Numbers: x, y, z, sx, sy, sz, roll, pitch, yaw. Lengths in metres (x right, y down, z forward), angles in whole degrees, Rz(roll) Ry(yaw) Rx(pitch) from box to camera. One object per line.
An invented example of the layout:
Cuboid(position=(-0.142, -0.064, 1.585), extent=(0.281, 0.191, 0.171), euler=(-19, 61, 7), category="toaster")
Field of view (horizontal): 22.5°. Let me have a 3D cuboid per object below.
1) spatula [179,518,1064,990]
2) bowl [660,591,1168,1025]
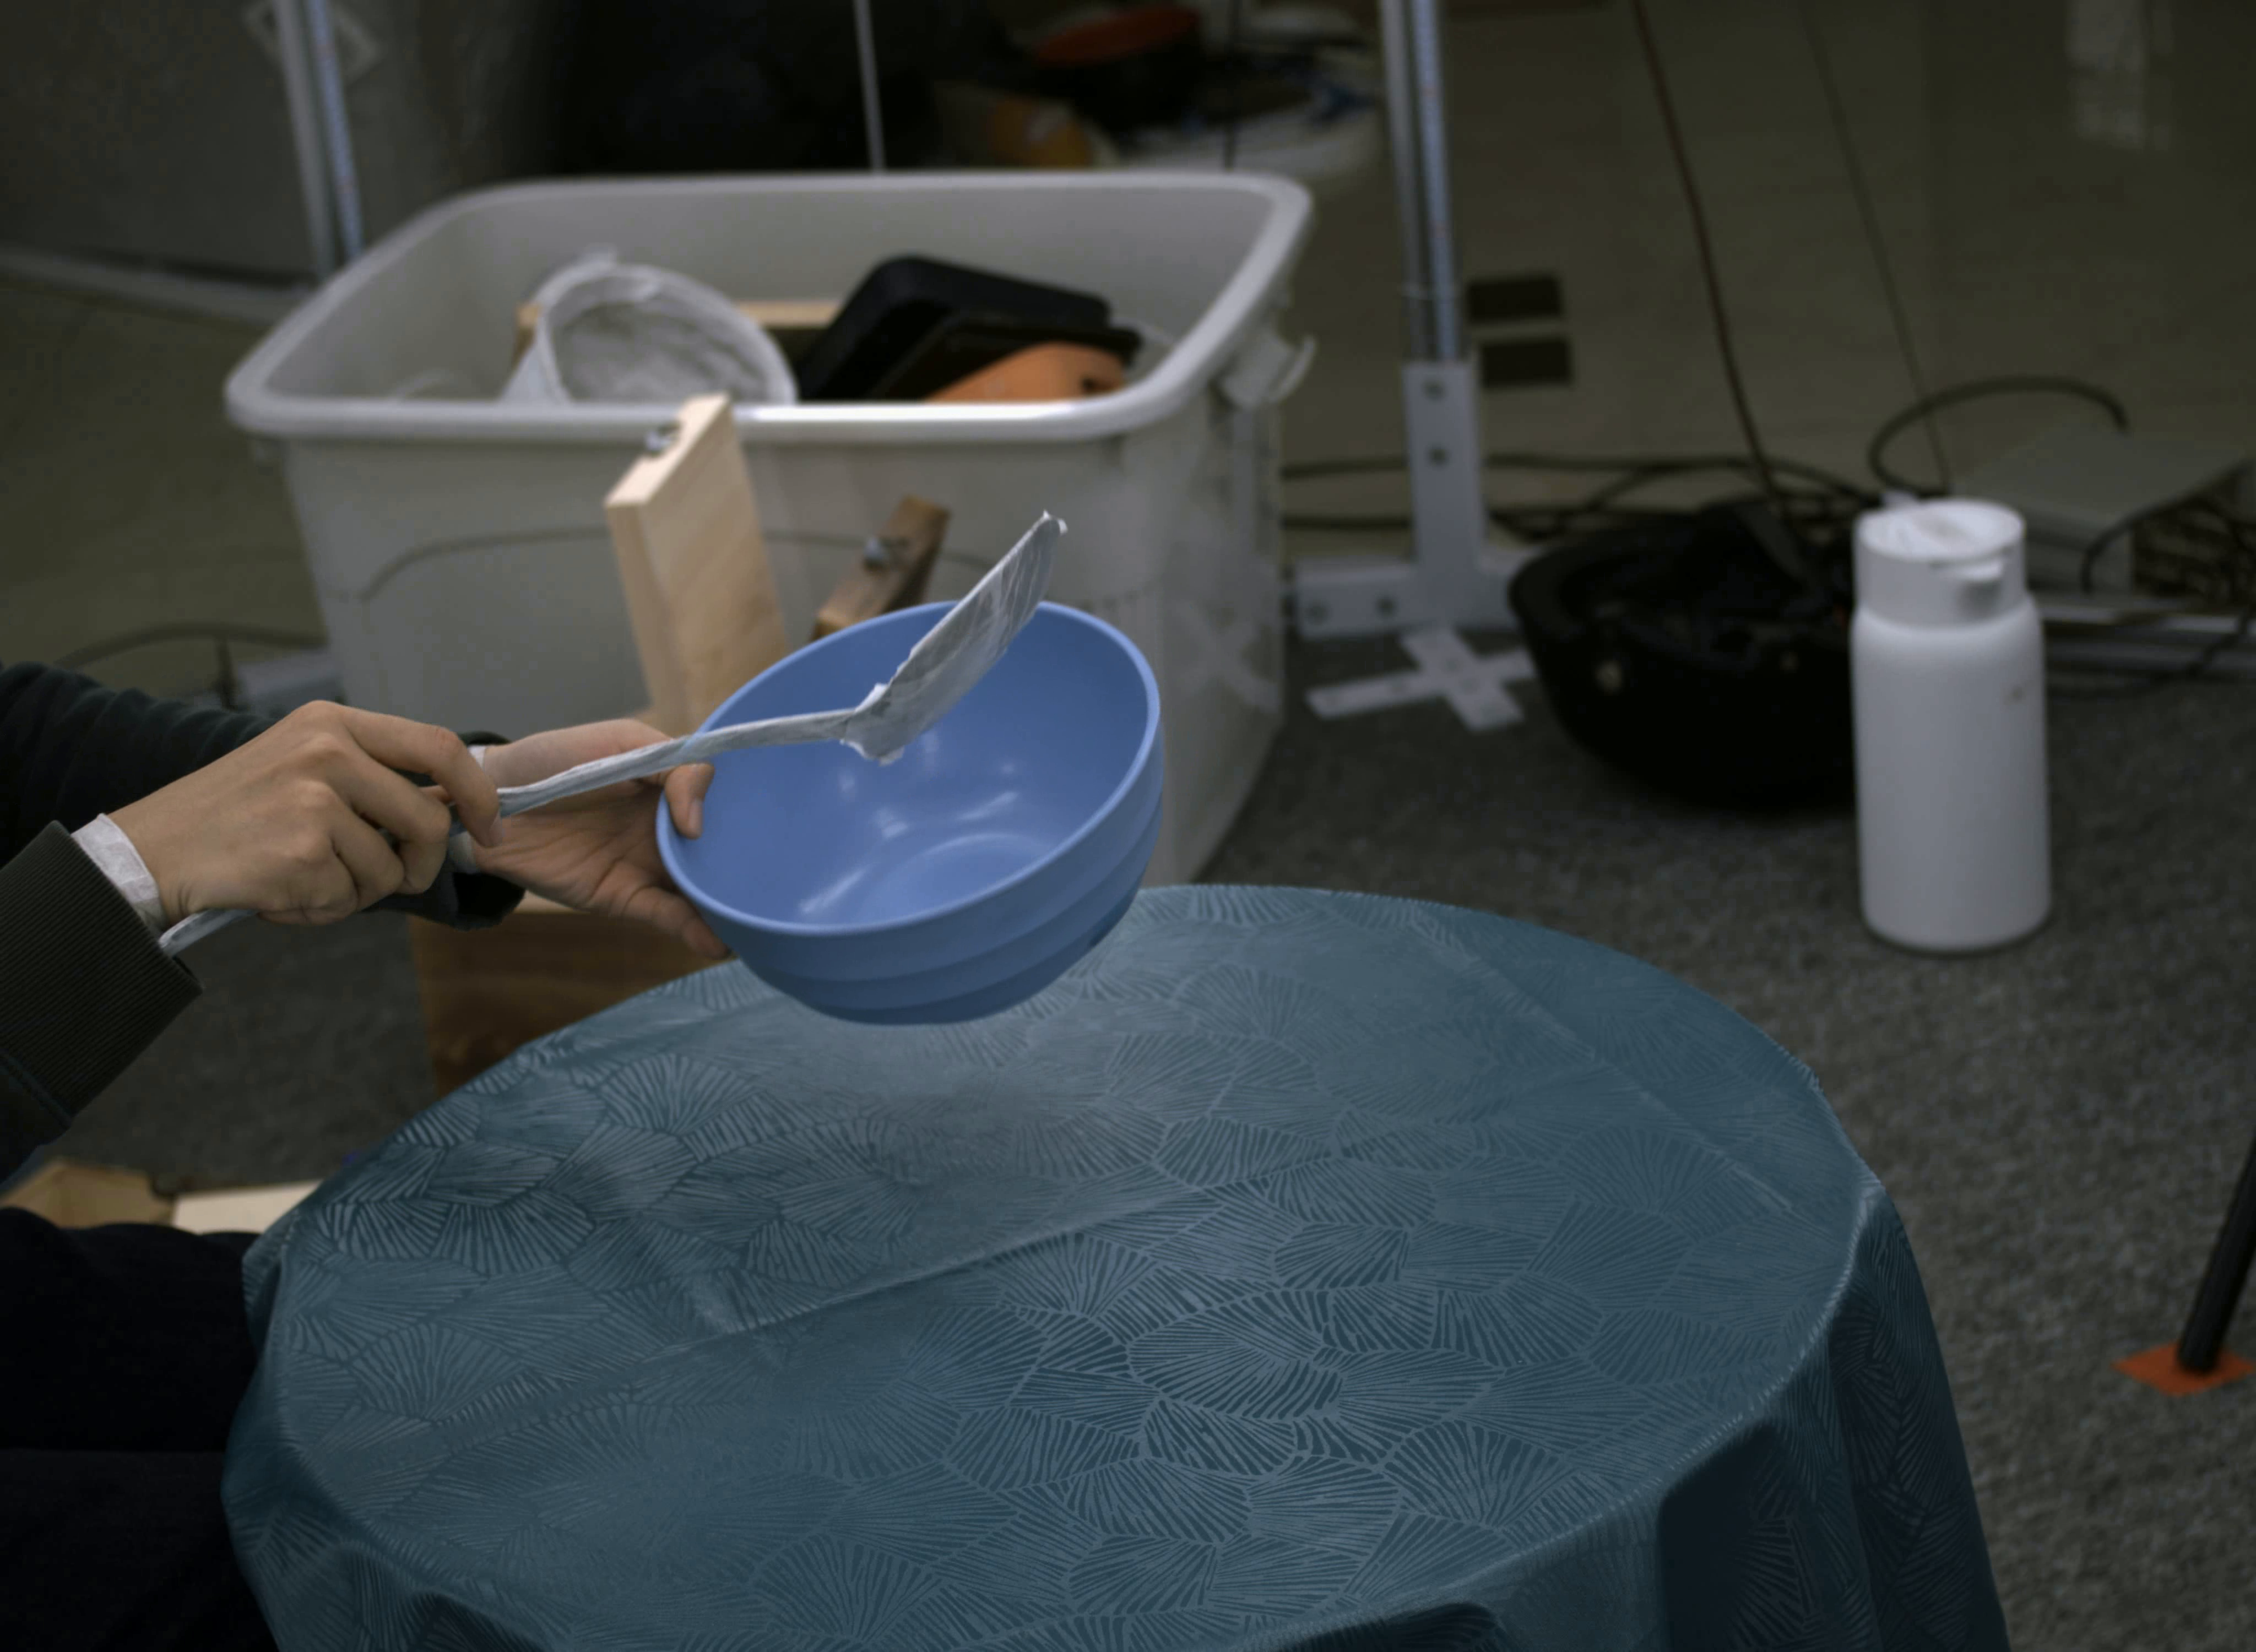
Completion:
Cuboid(position=(-0.172, -0.022, 1.979), extent=(0.363, 0.100, 0.044), euler=(-19, 67, -26), category="spatula")
Cuboid(position=(-0.070, 0.009, 2.143), extent=(0.196, 0.097, 0.193), euler=(-11, 39, 9), category="bowl")
